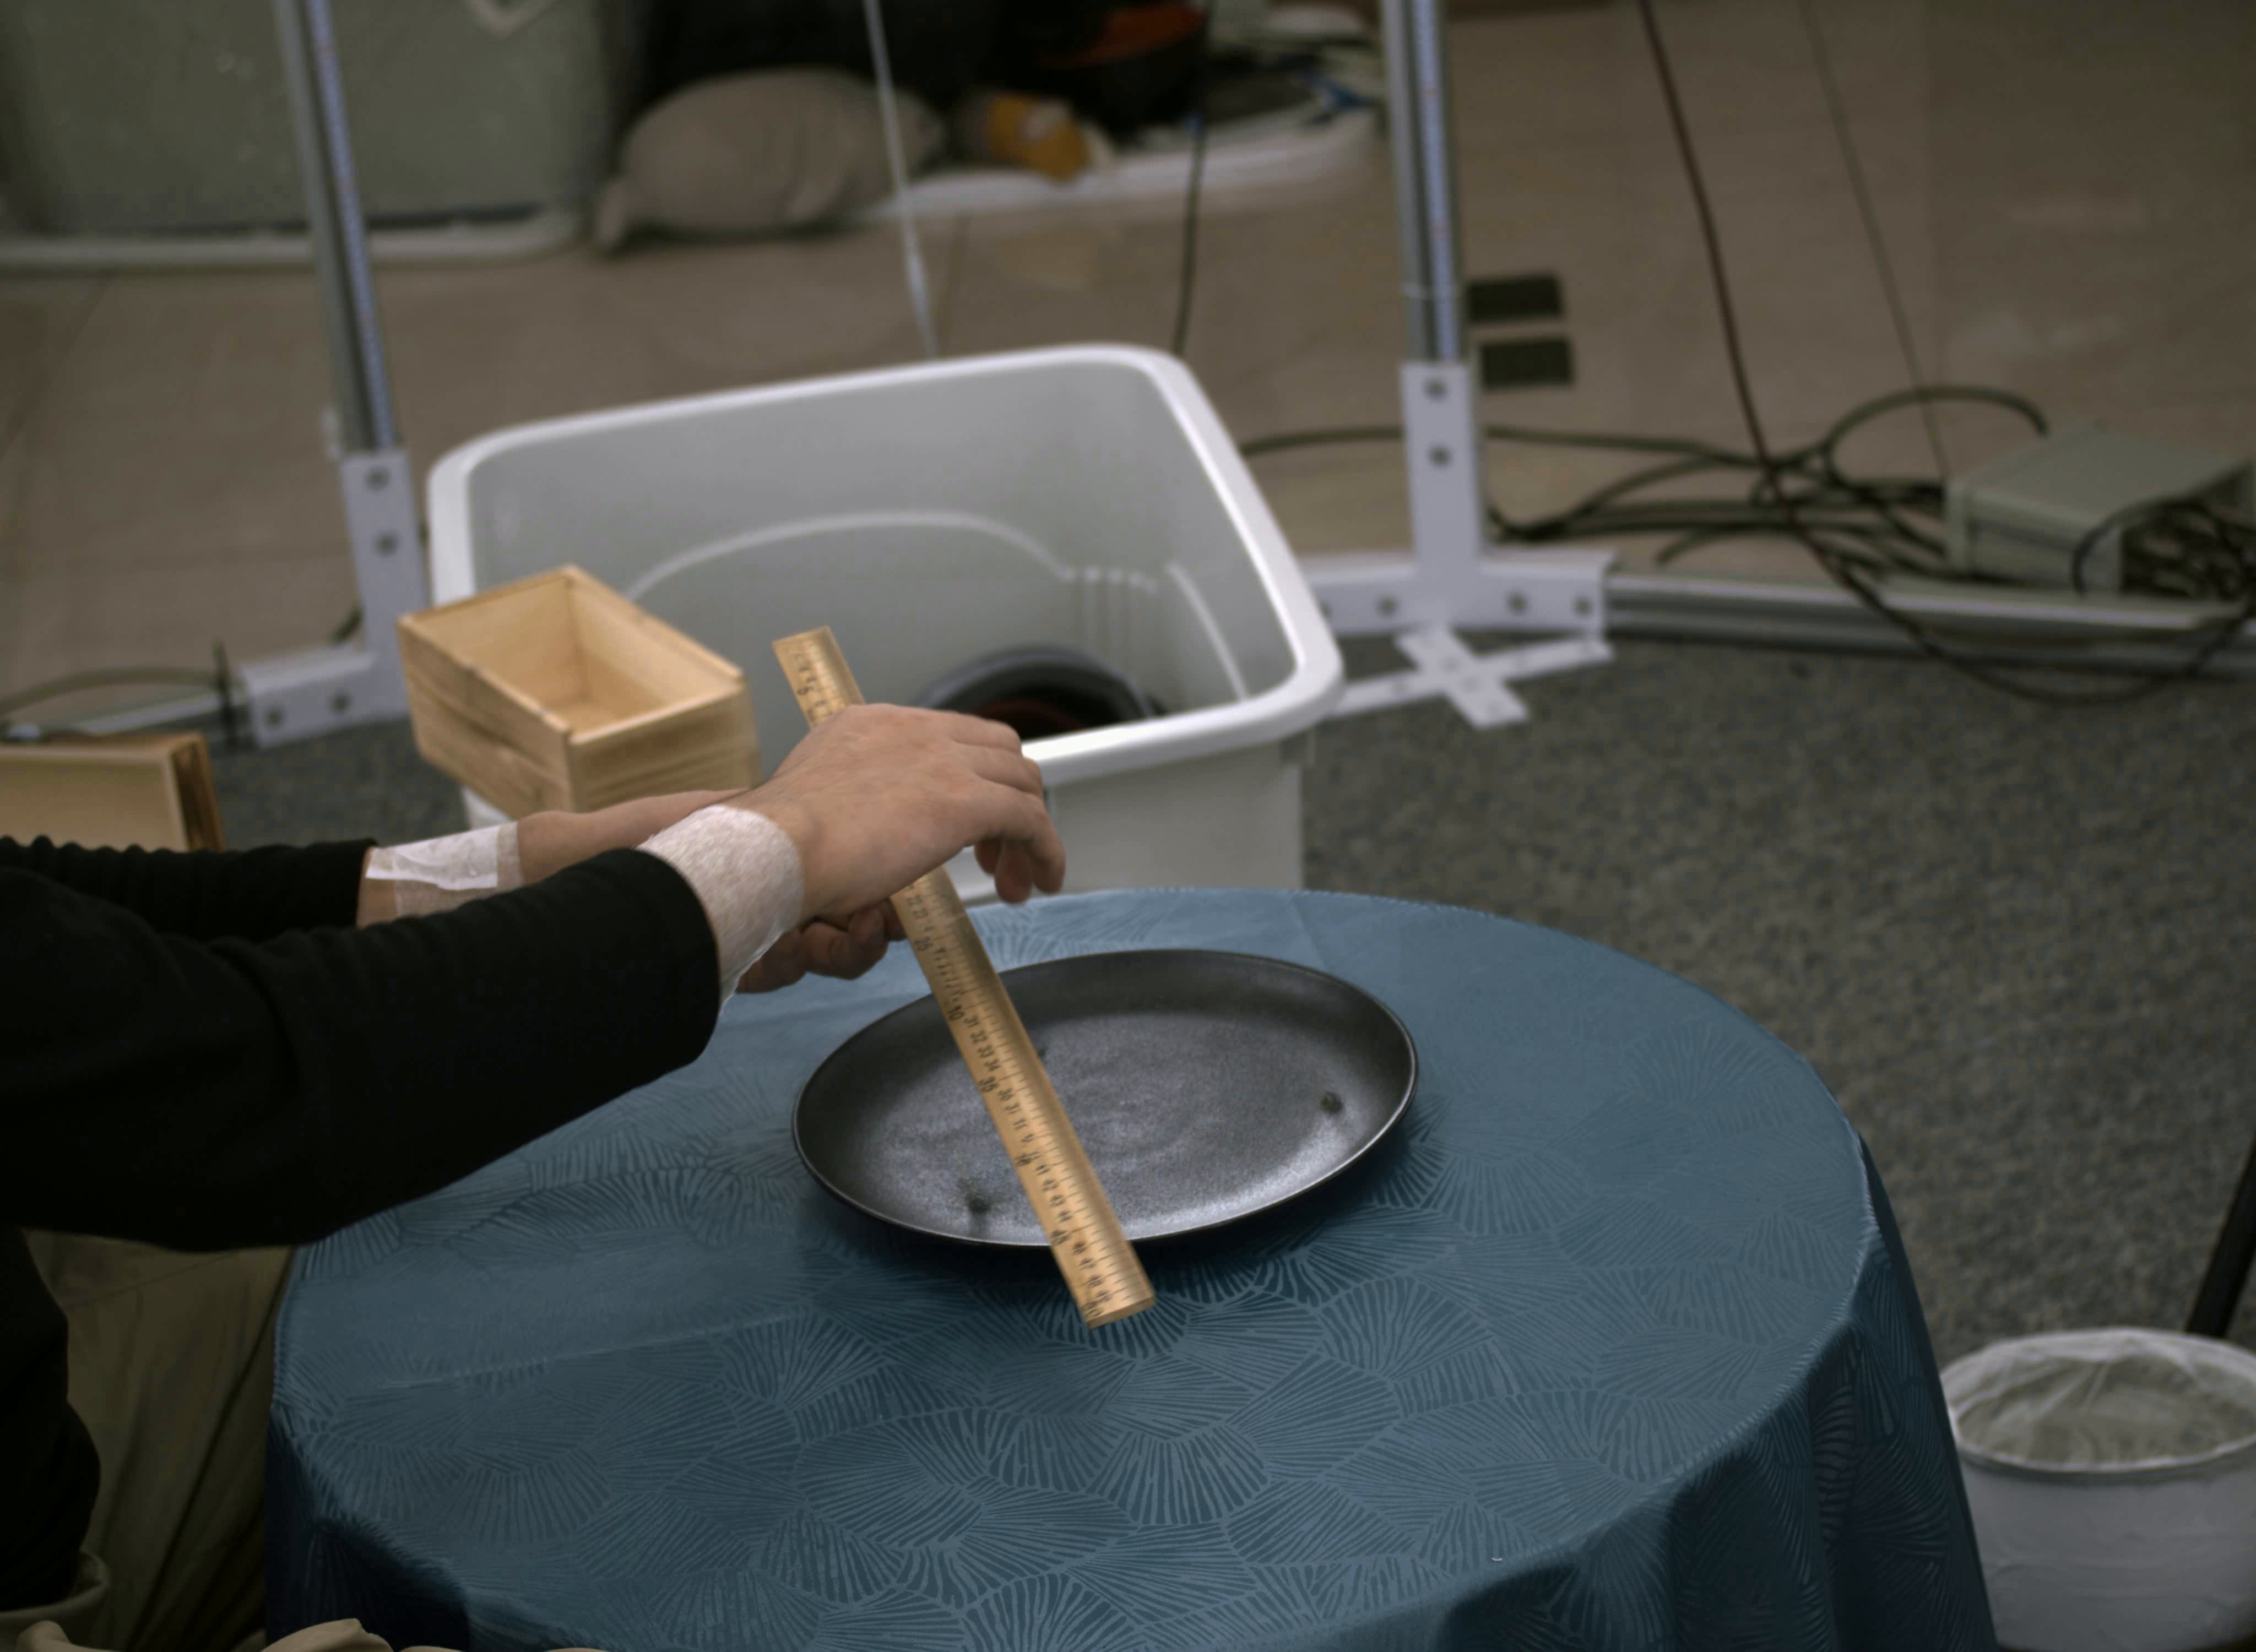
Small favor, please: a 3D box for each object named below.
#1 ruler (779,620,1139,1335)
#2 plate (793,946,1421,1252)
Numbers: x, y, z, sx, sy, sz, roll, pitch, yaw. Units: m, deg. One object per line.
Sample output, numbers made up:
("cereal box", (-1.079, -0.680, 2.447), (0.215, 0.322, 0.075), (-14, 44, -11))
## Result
("ruler", (-0.071, 0.044, 2.124), (0.027, 0.006, 0.492), (-21, 34, -4))
("plate", (-0.008, 0.110, 2.184), (0.244, 0.024, 0.241), (-5, 25, 3))
